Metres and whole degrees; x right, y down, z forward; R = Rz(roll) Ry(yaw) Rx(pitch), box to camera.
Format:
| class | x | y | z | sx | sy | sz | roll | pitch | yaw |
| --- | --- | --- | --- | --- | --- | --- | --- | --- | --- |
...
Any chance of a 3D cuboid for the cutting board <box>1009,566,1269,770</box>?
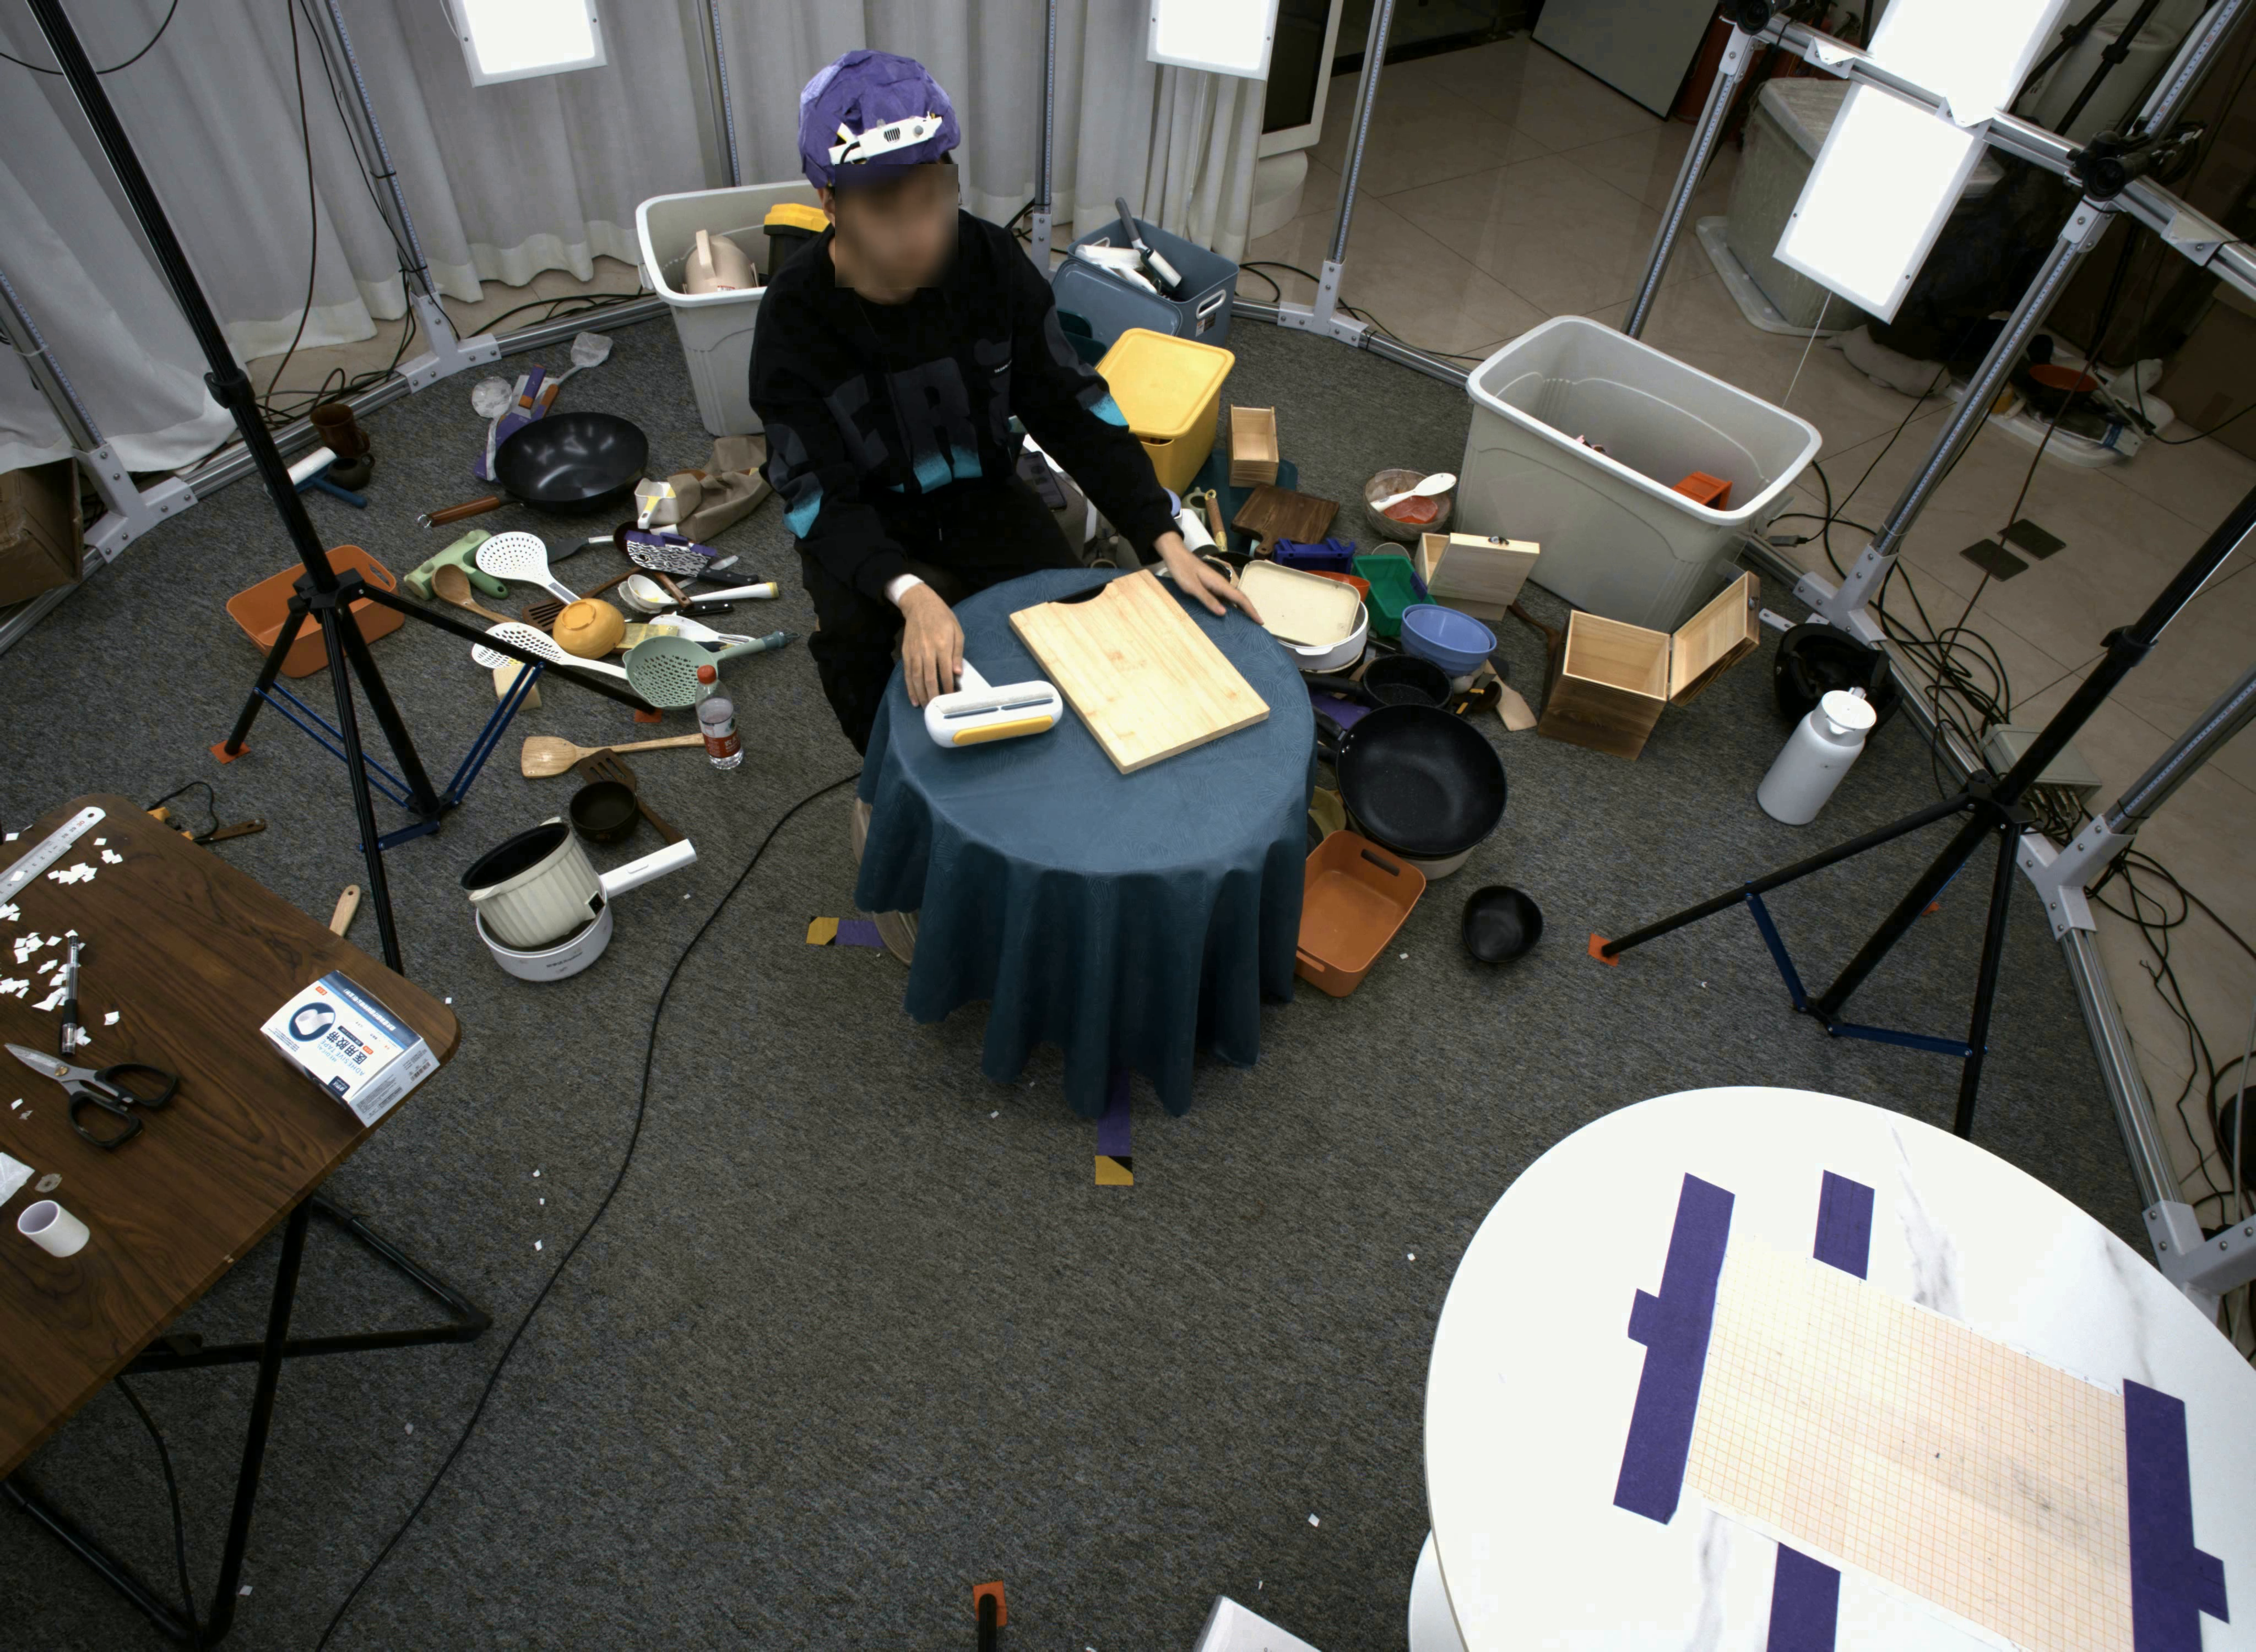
| class | x | y | z | sx | sy | sz | roll | pitch | yaw |
| --- | --- | --- | --- | --- | --- | --- | --- | --- | --- |
| cutting board | 0.010 | -0.237 | 1.864 | 0.251 | 0.023 | 0.356 | -22 | 54 | -21 |

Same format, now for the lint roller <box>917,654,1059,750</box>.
| class | x | y | z | sx | sy | sz | roll | pitch | yaw |
| --- | --- | --- | --- | --- | --- | --- | --- | --- | --- |
| lint roller | -0.210 | -0.186 | 1.773 | 0.193 | 0.072 | 0.197 | -12 | 49 | -20 |
